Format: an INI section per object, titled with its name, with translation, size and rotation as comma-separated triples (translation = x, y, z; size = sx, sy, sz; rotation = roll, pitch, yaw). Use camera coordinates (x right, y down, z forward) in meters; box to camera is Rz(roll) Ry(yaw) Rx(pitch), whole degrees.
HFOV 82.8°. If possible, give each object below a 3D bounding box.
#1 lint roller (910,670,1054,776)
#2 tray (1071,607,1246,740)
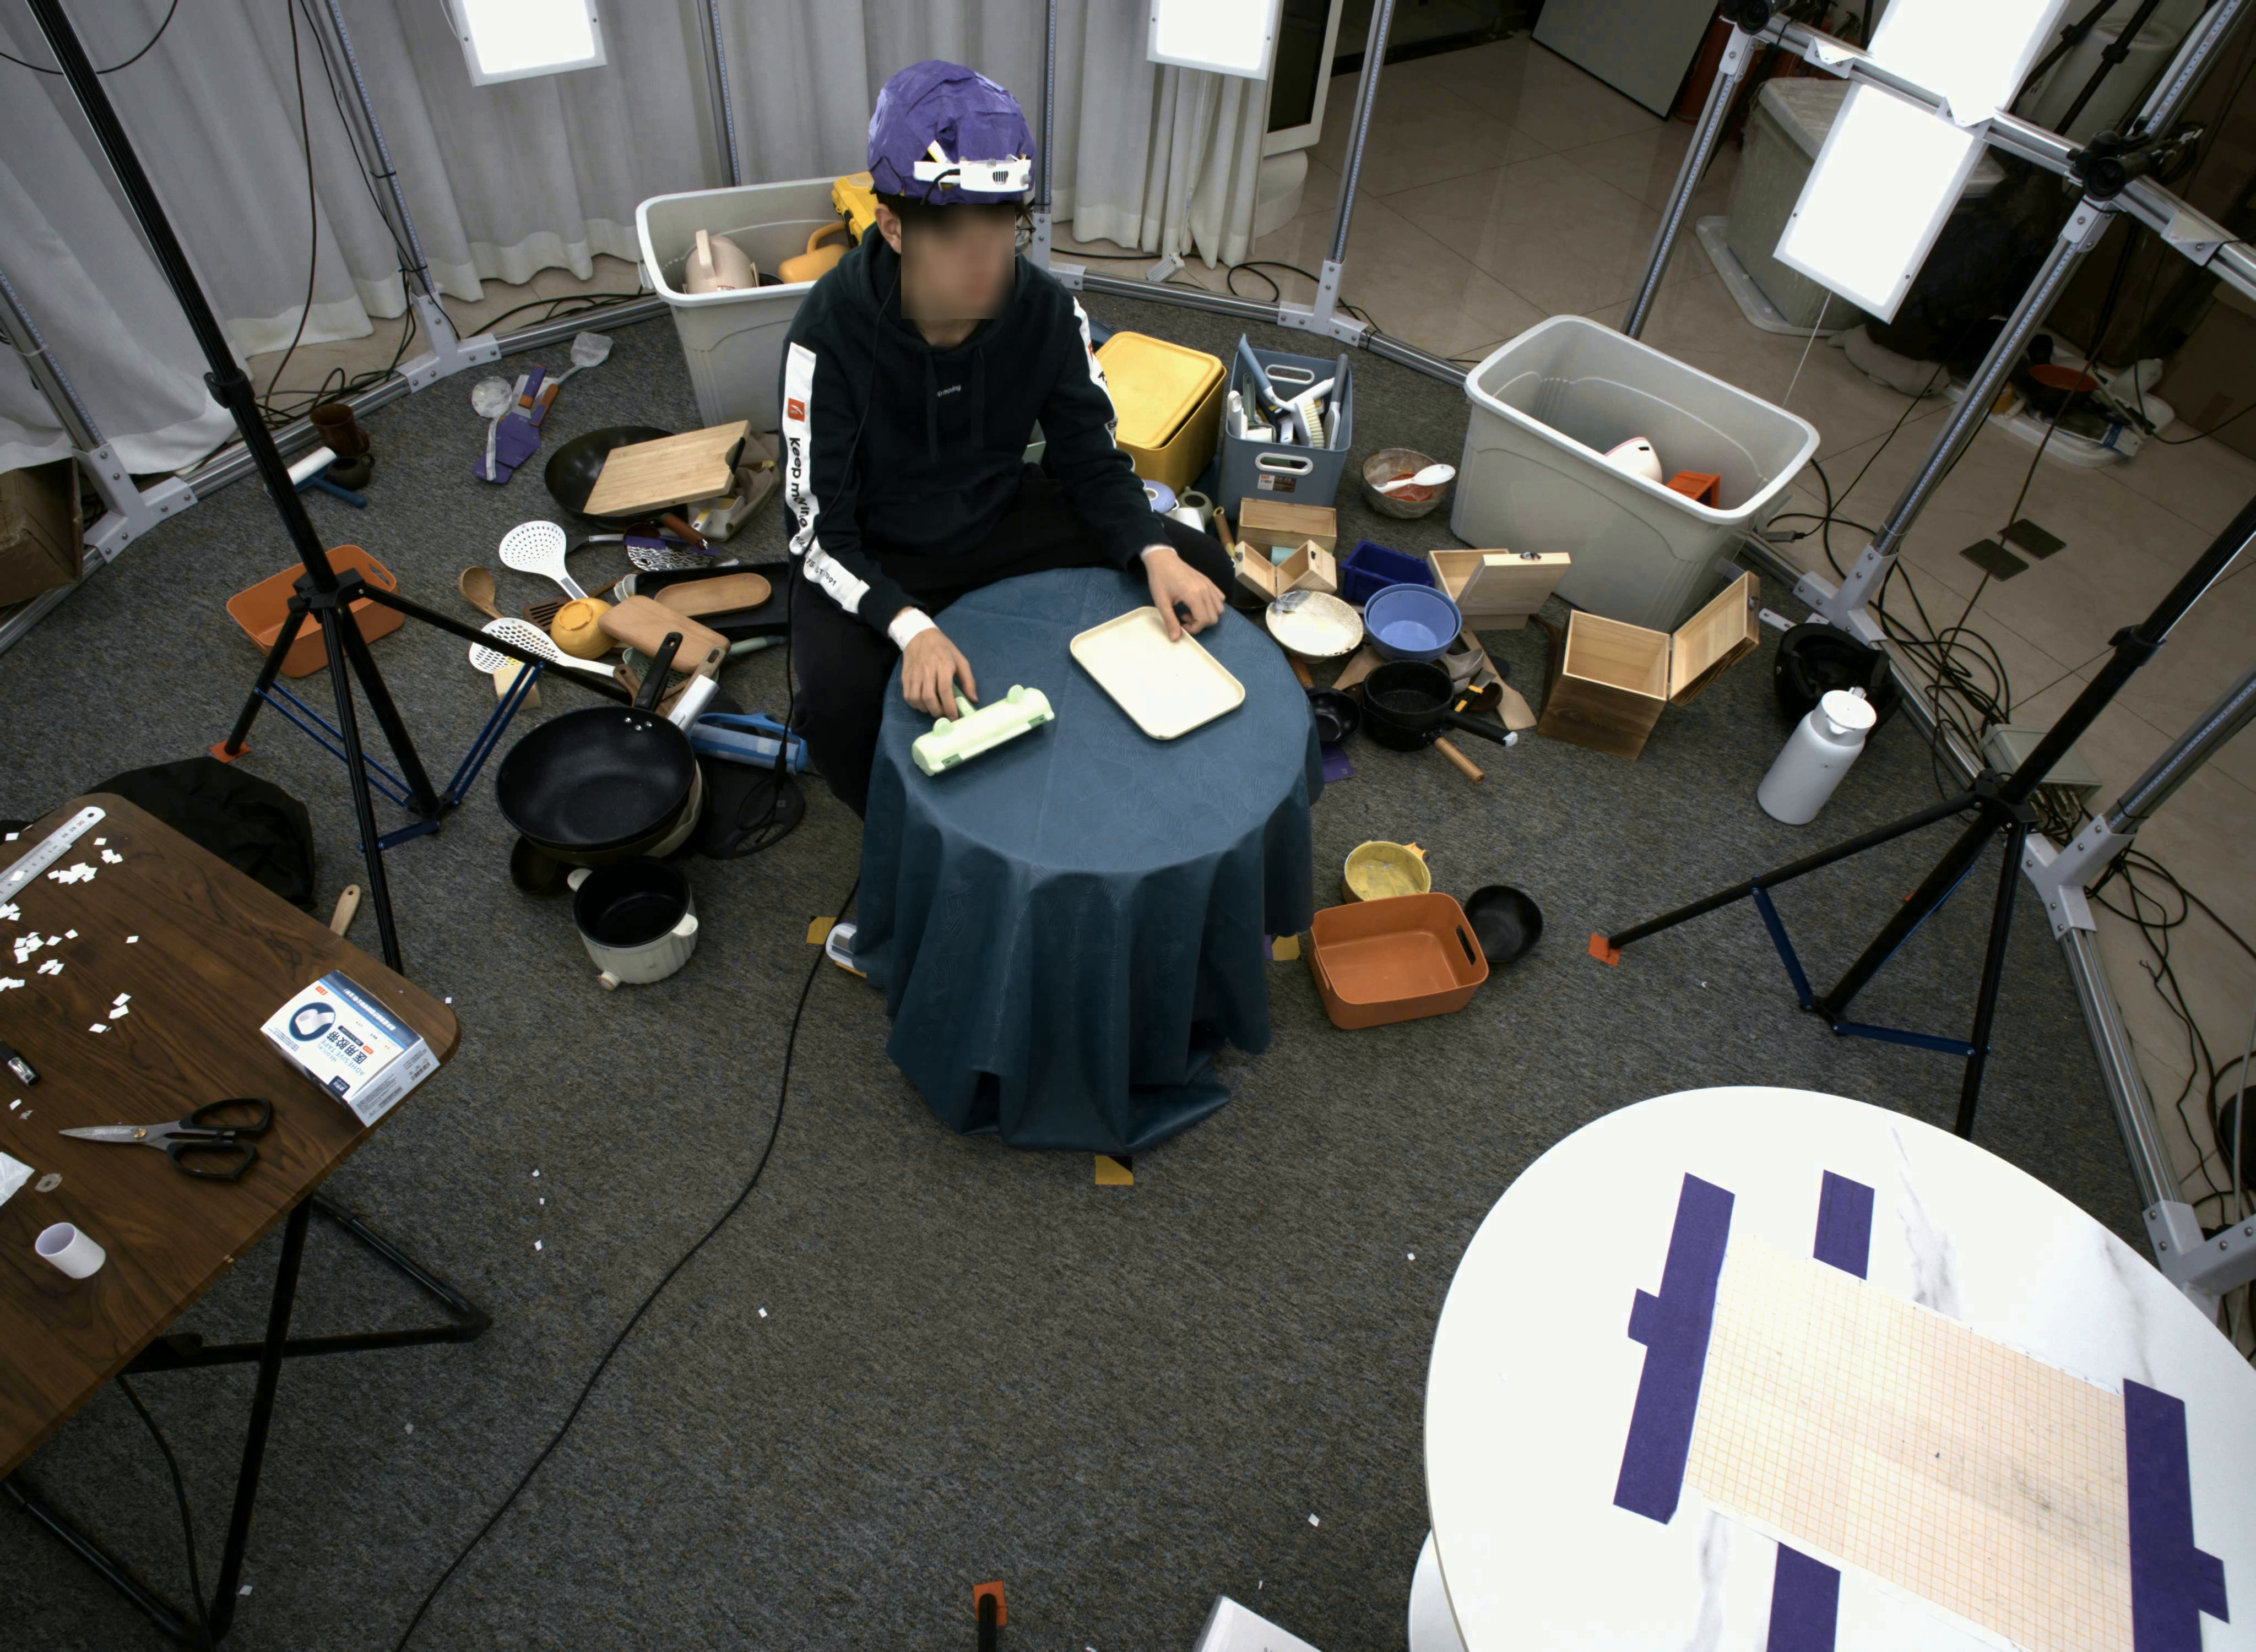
[lint roller]
translation = -0.228, -0.171, 1.751
size = 0.199, 0.080, 0.186
rotation = -27, 60, -24
[tray]
translation = 0.042, -0.222, 1.851
size = 0.172, 0.017, 0.244
rotation = -26, 56, -25
